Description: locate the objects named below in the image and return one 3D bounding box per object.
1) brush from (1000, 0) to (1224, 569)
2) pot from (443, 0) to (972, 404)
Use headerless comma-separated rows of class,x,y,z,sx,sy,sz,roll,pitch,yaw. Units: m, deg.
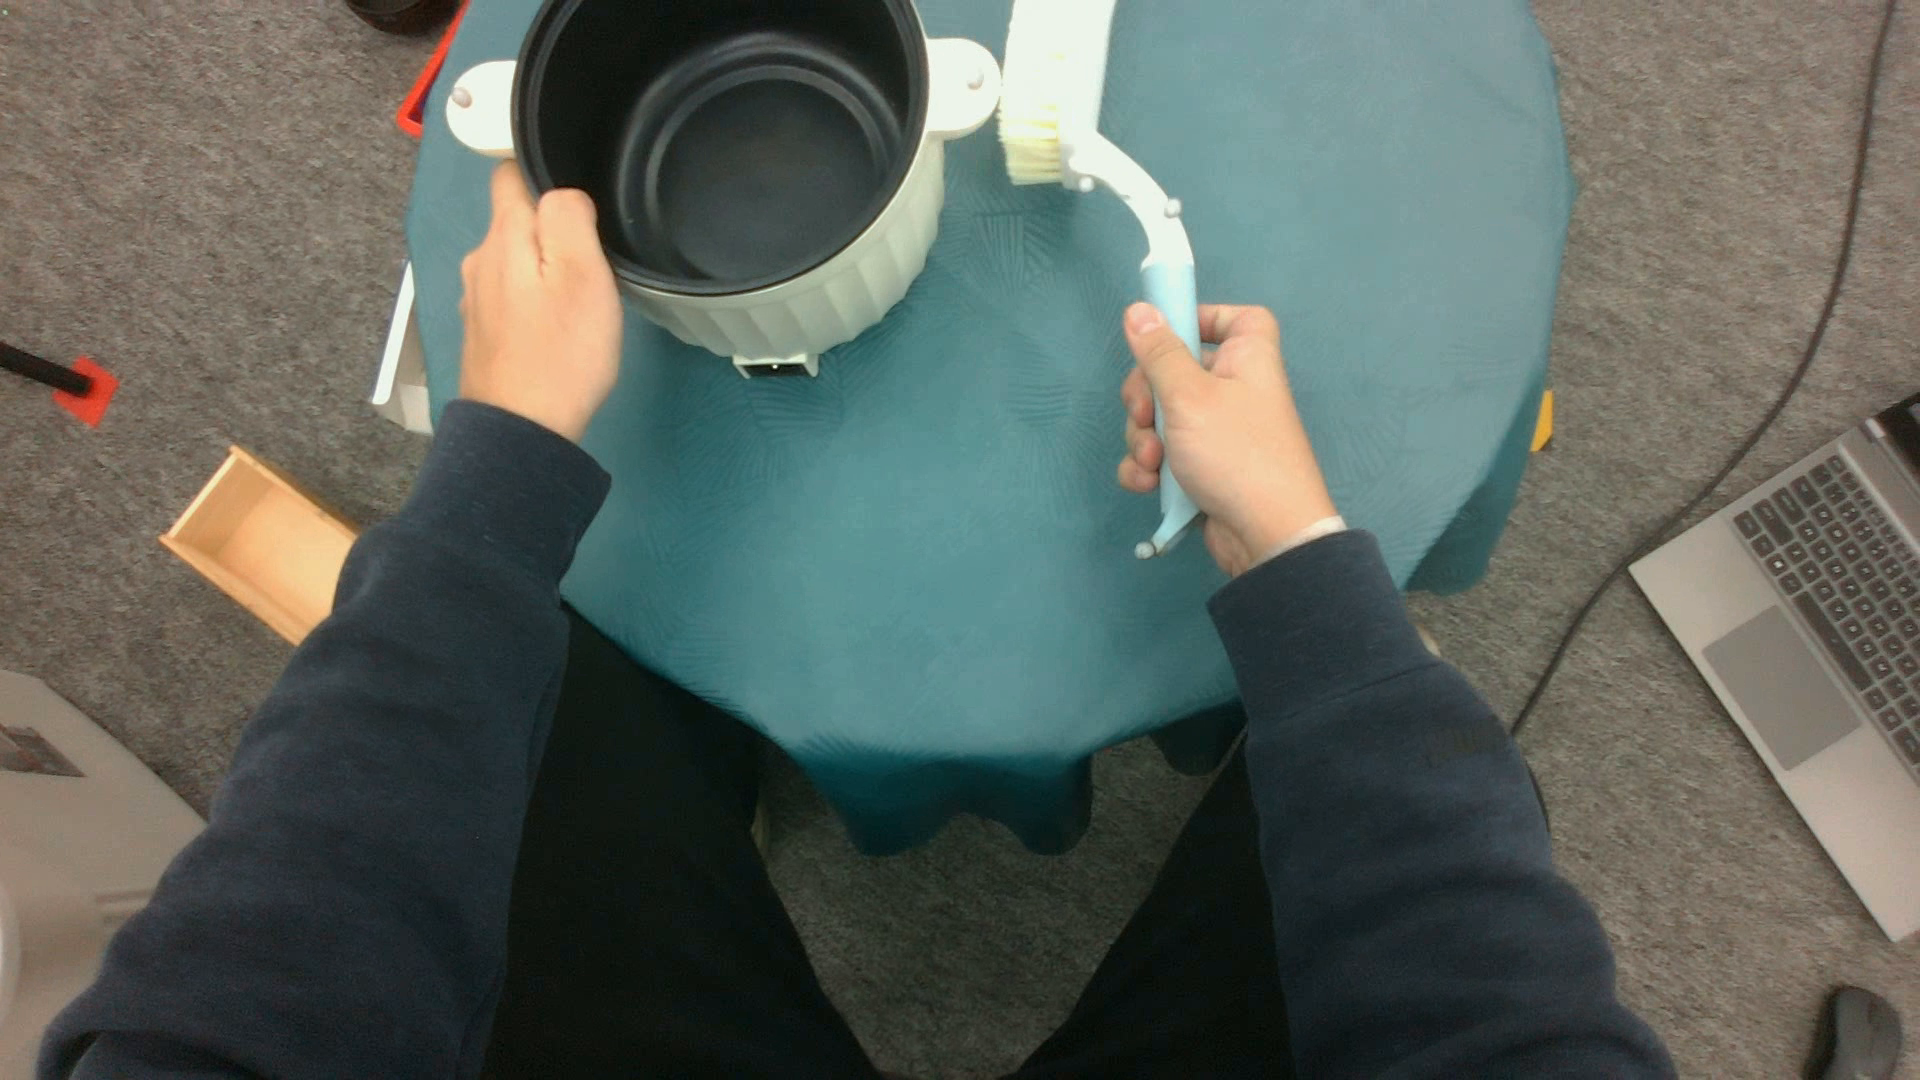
brush,0.055,-0.141,0.654,0.084,0.083,0.326,-21,66,43
pot,-0.109,-0.173,0.671,0.240,0.142,0.190,-5,82,4
